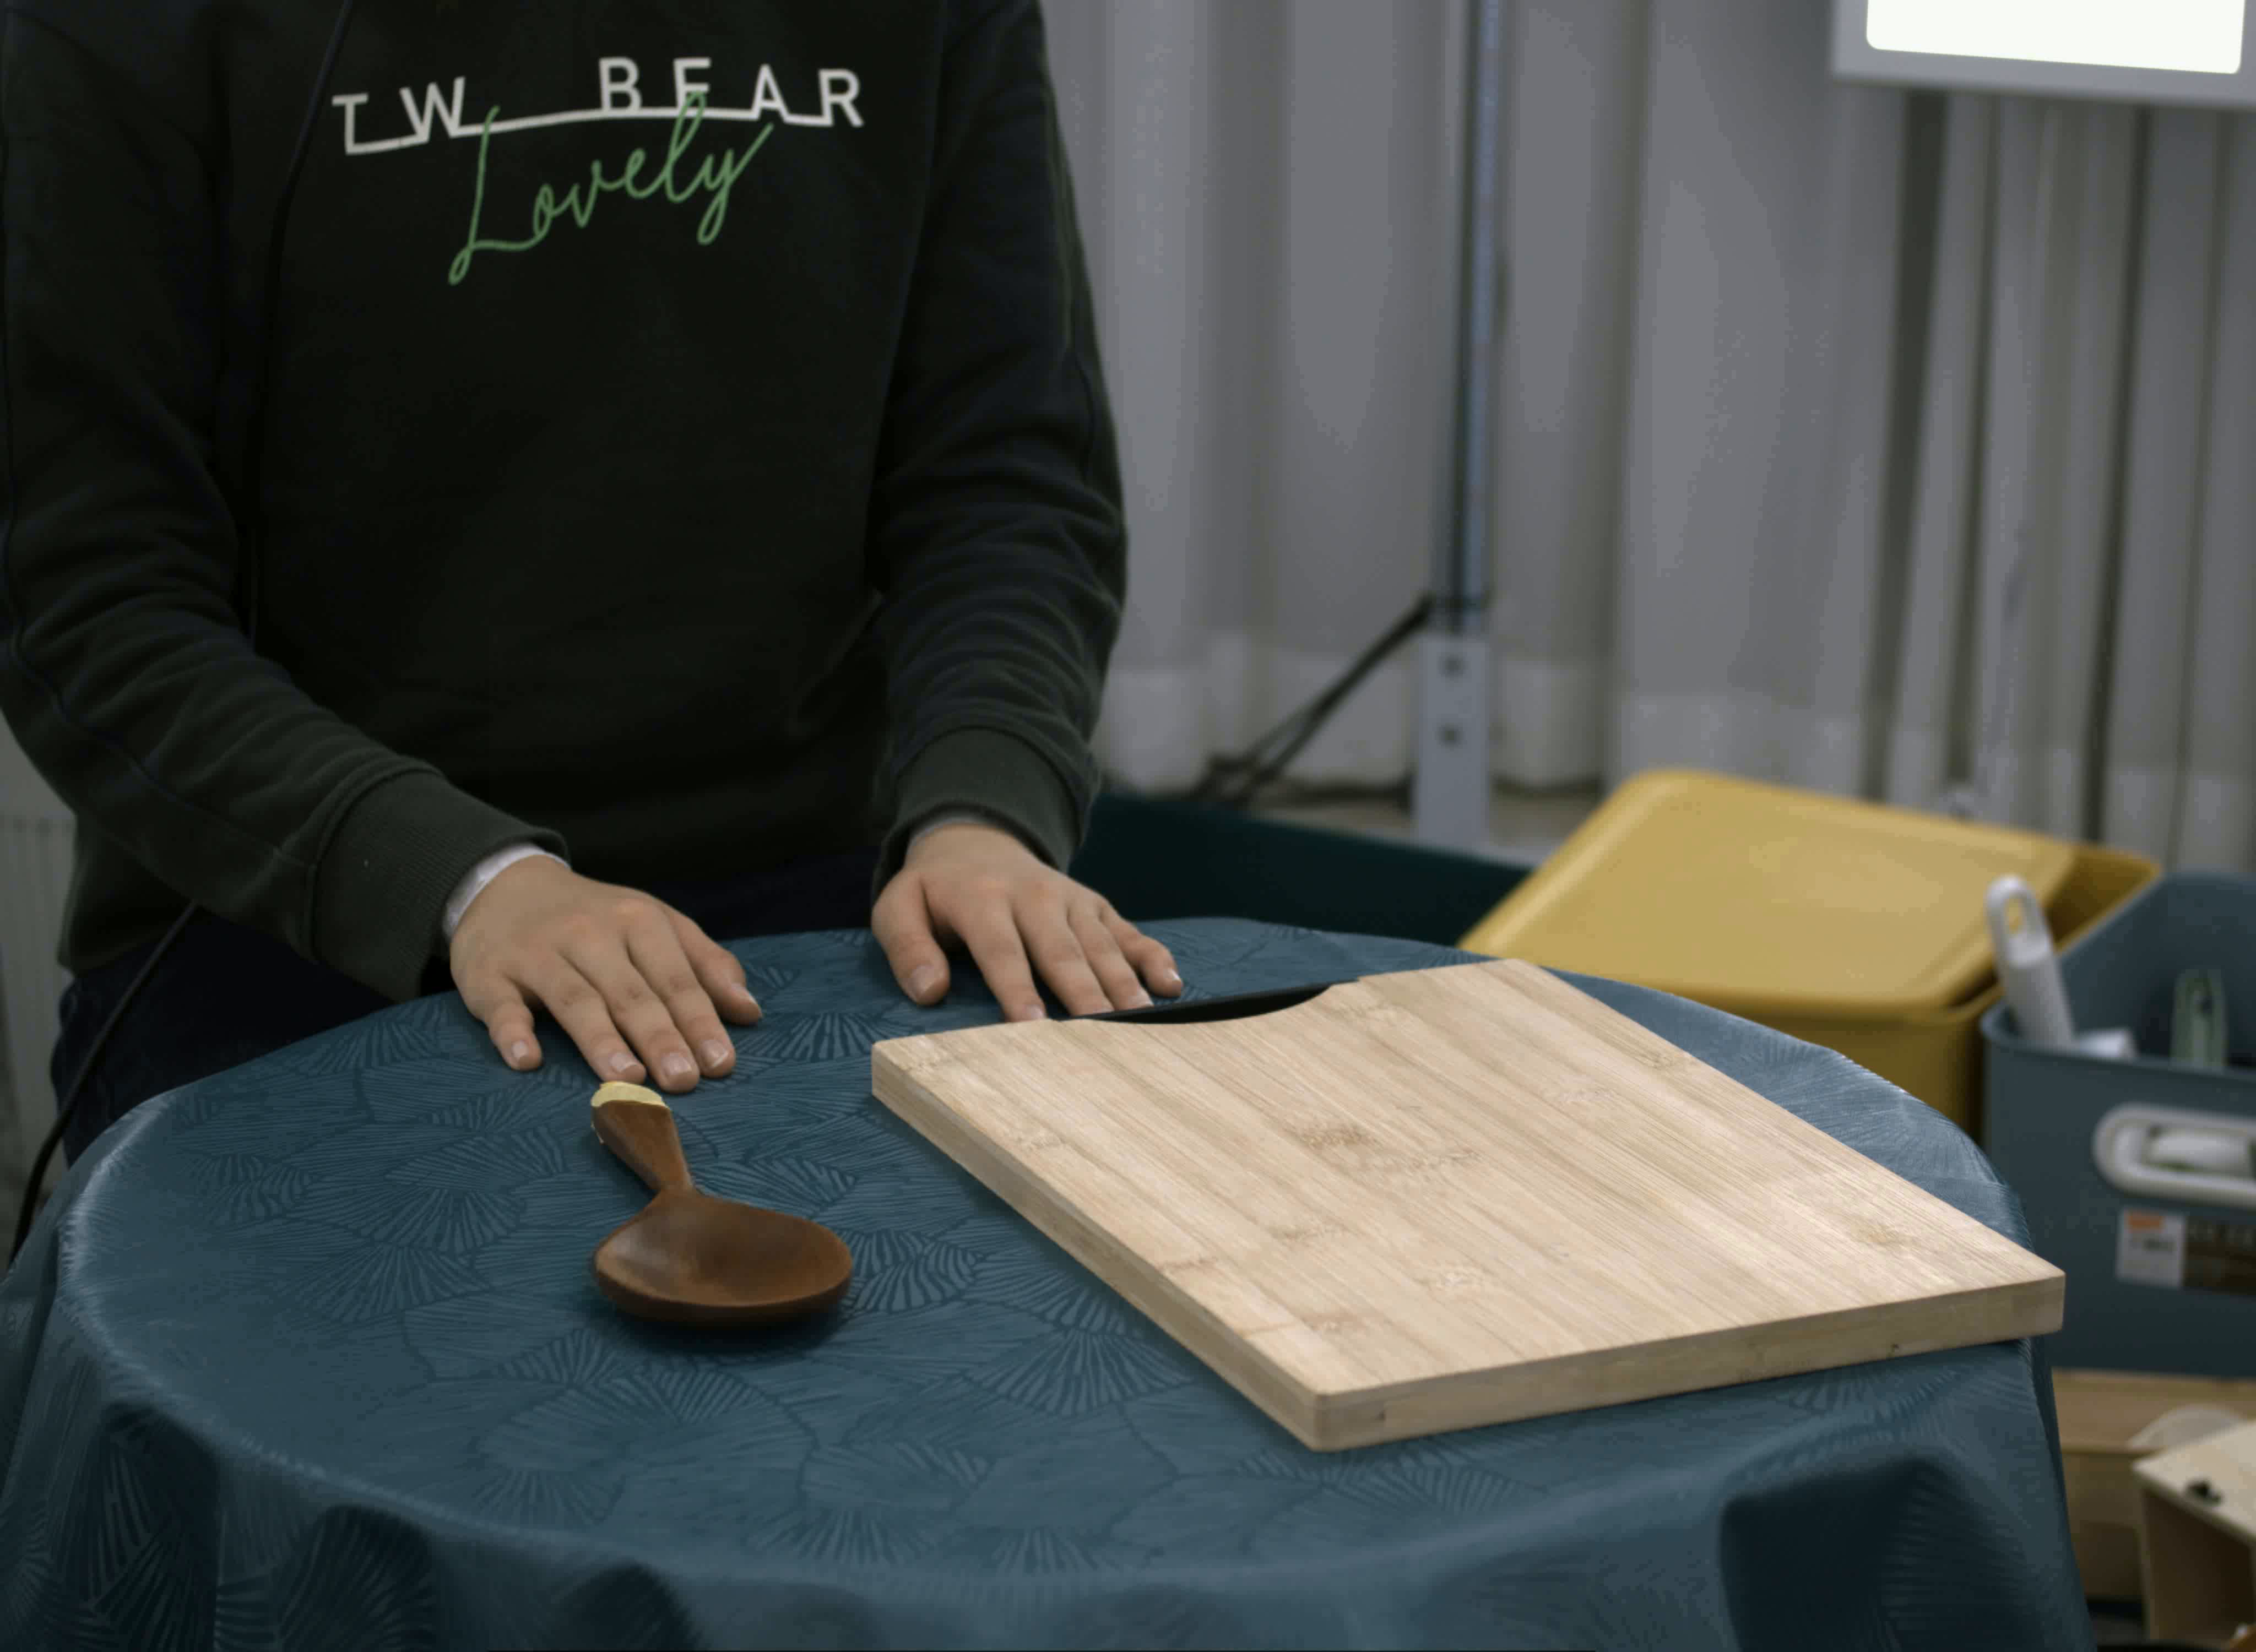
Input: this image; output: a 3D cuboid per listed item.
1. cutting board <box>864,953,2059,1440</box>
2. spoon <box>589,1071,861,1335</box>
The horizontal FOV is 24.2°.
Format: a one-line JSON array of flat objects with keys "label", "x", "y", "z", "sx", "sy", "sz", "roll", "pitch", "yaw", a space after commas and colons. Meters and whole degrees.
[{"label": "cutting board", "x": 0.091, "y": 0.107, "z": 1.621, "sx": 0.251, "sy": 0.024, "sz": 0.344, "roll": -6, "pitch": 17, "yaw": -24}, {"label": "spoon", "x": -0.132, "y": 0.114, "z": 1.583, "sx": 0.075, "sy": 0.017, "sz": 0.213, "roll": -5, "pitch": 18, "yaw": -15}]
